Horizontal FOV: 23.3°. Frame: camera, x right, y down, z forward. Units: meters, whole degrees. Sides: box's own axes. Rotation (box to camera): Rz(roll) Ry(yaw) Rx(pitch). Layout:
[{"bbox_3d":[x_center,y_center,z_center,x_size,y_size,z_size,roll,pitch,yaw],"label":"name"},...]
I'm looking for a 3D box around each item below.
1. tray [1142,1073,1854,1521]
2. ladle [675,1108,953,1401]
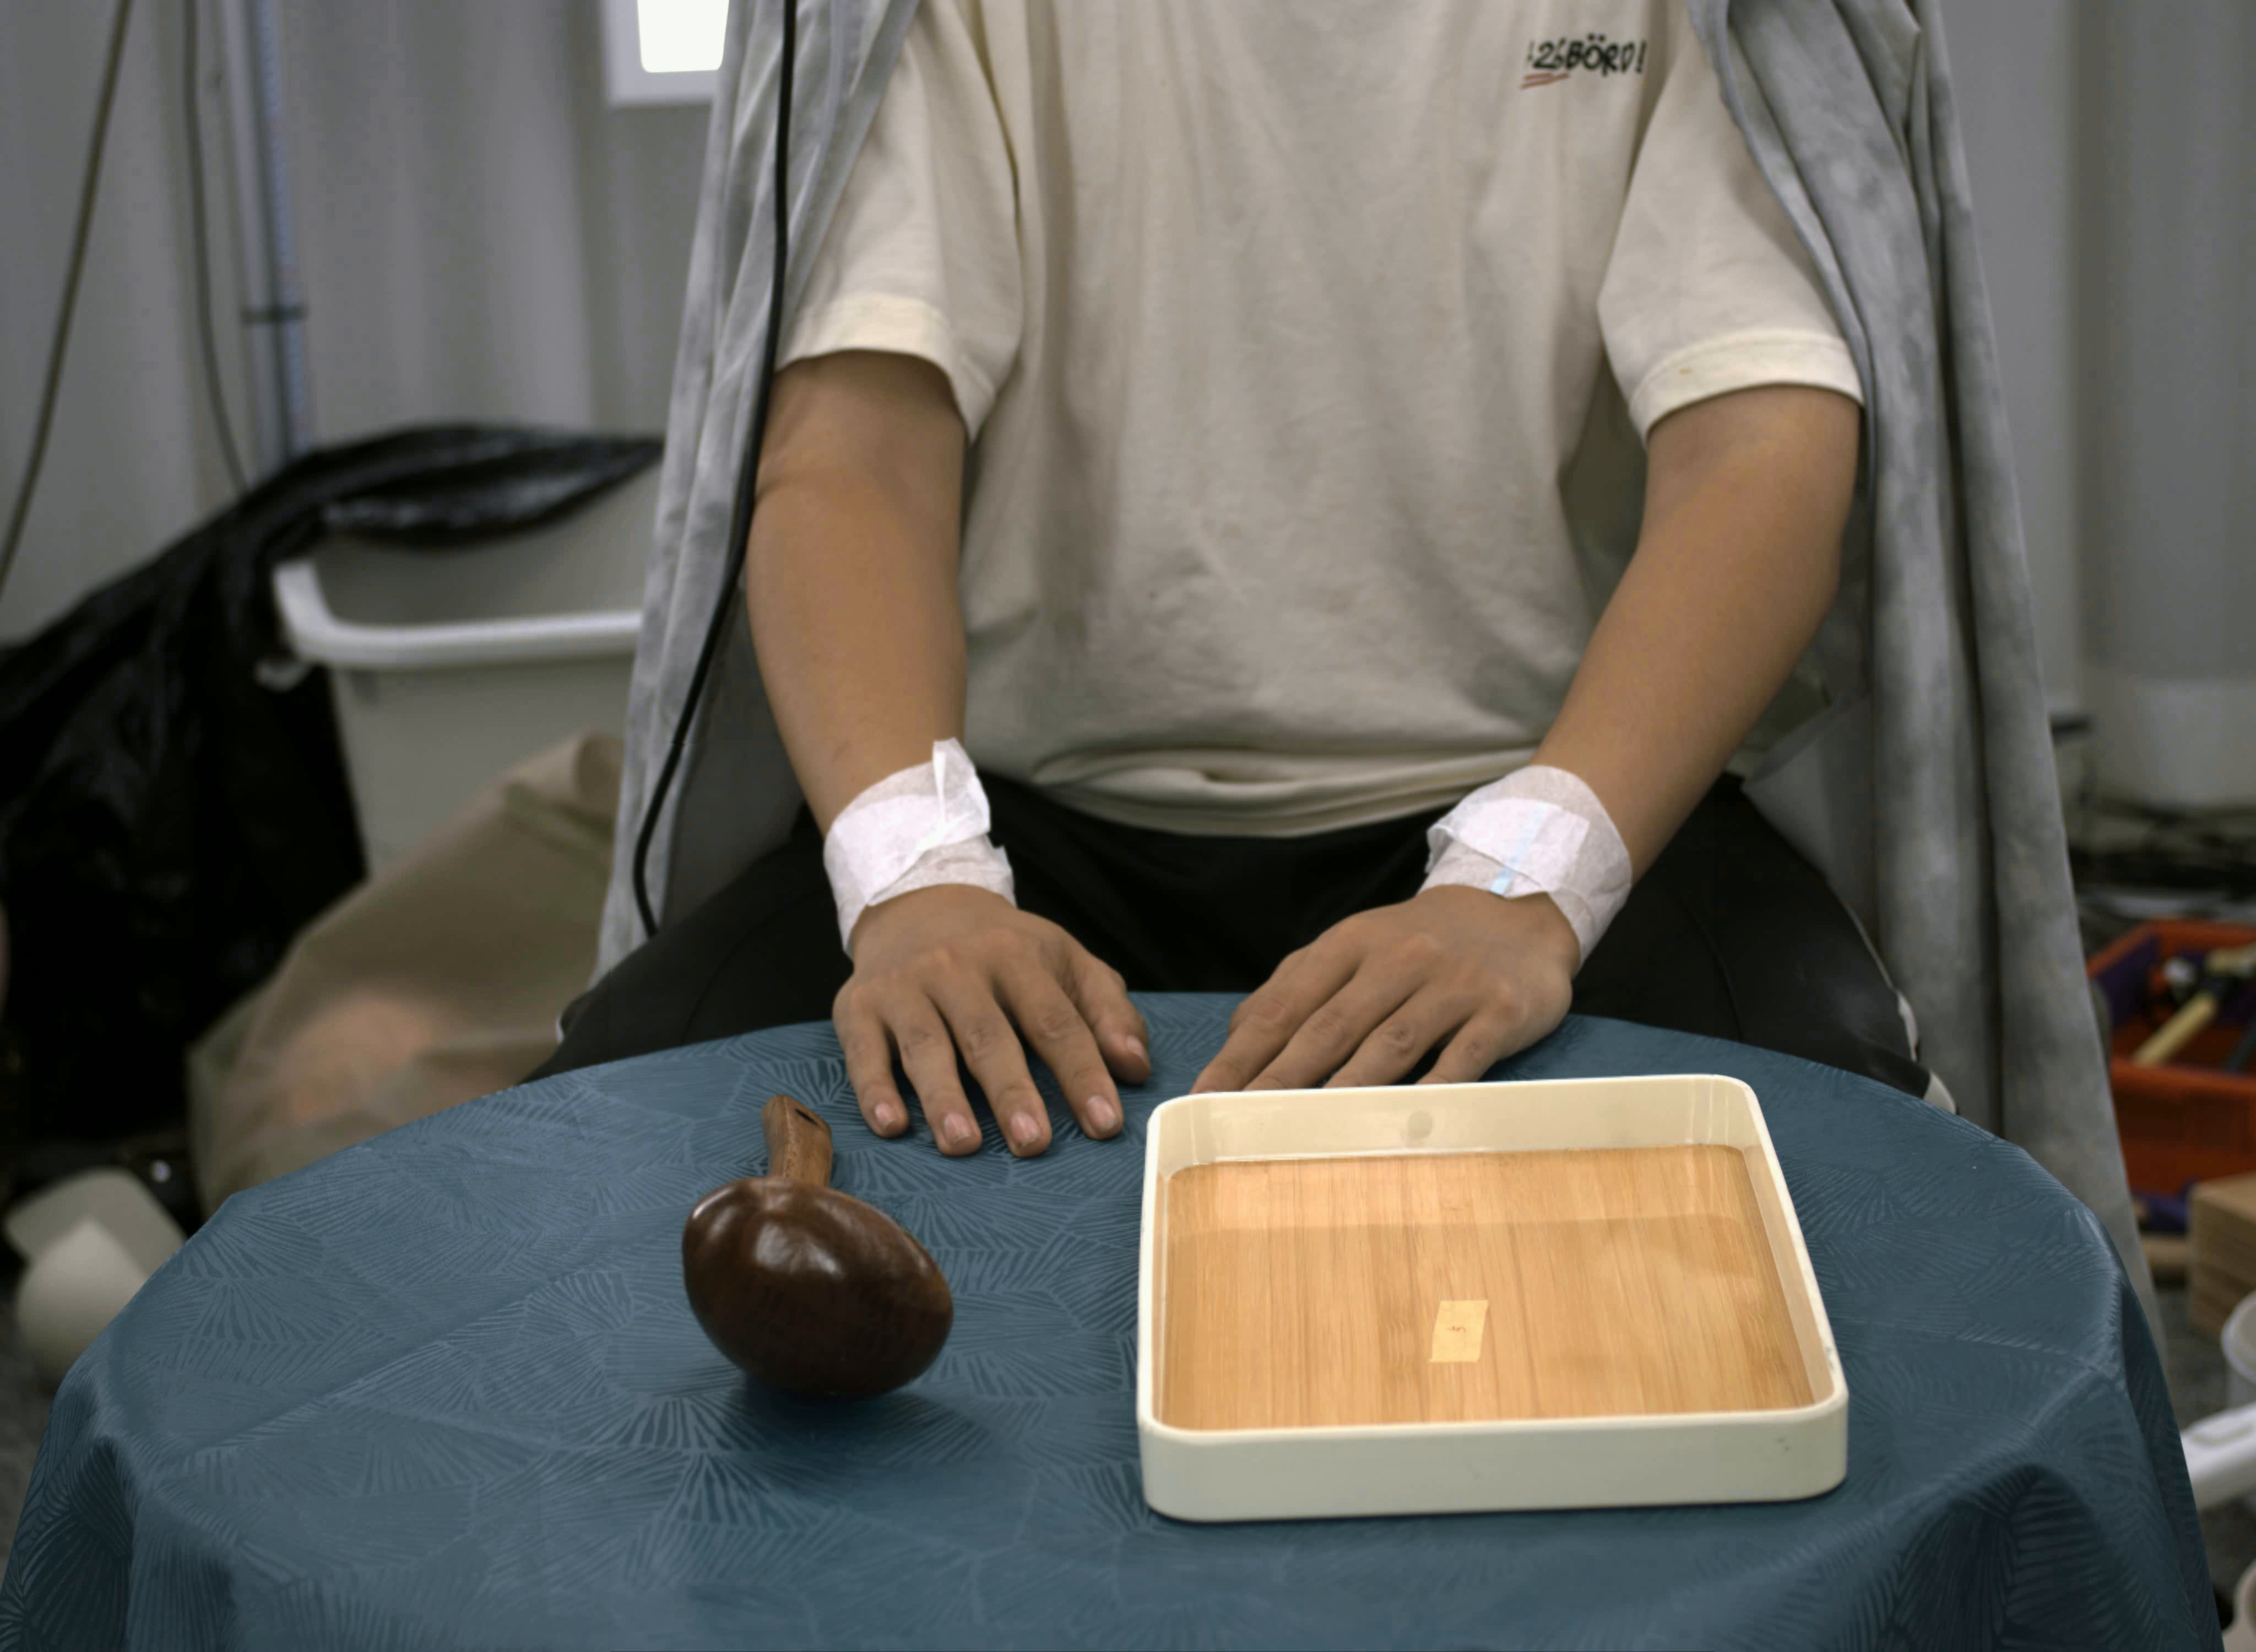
[{"bbox_3d":[0.101,0.132,1.582,0.191,0.027,0.302,-3,15,2],"label":"tray"},{"bbox_3d":[-0.089,0.105,1.636,0.081,0.076,0.276,36,12,-7],"label":"ladle"}]
